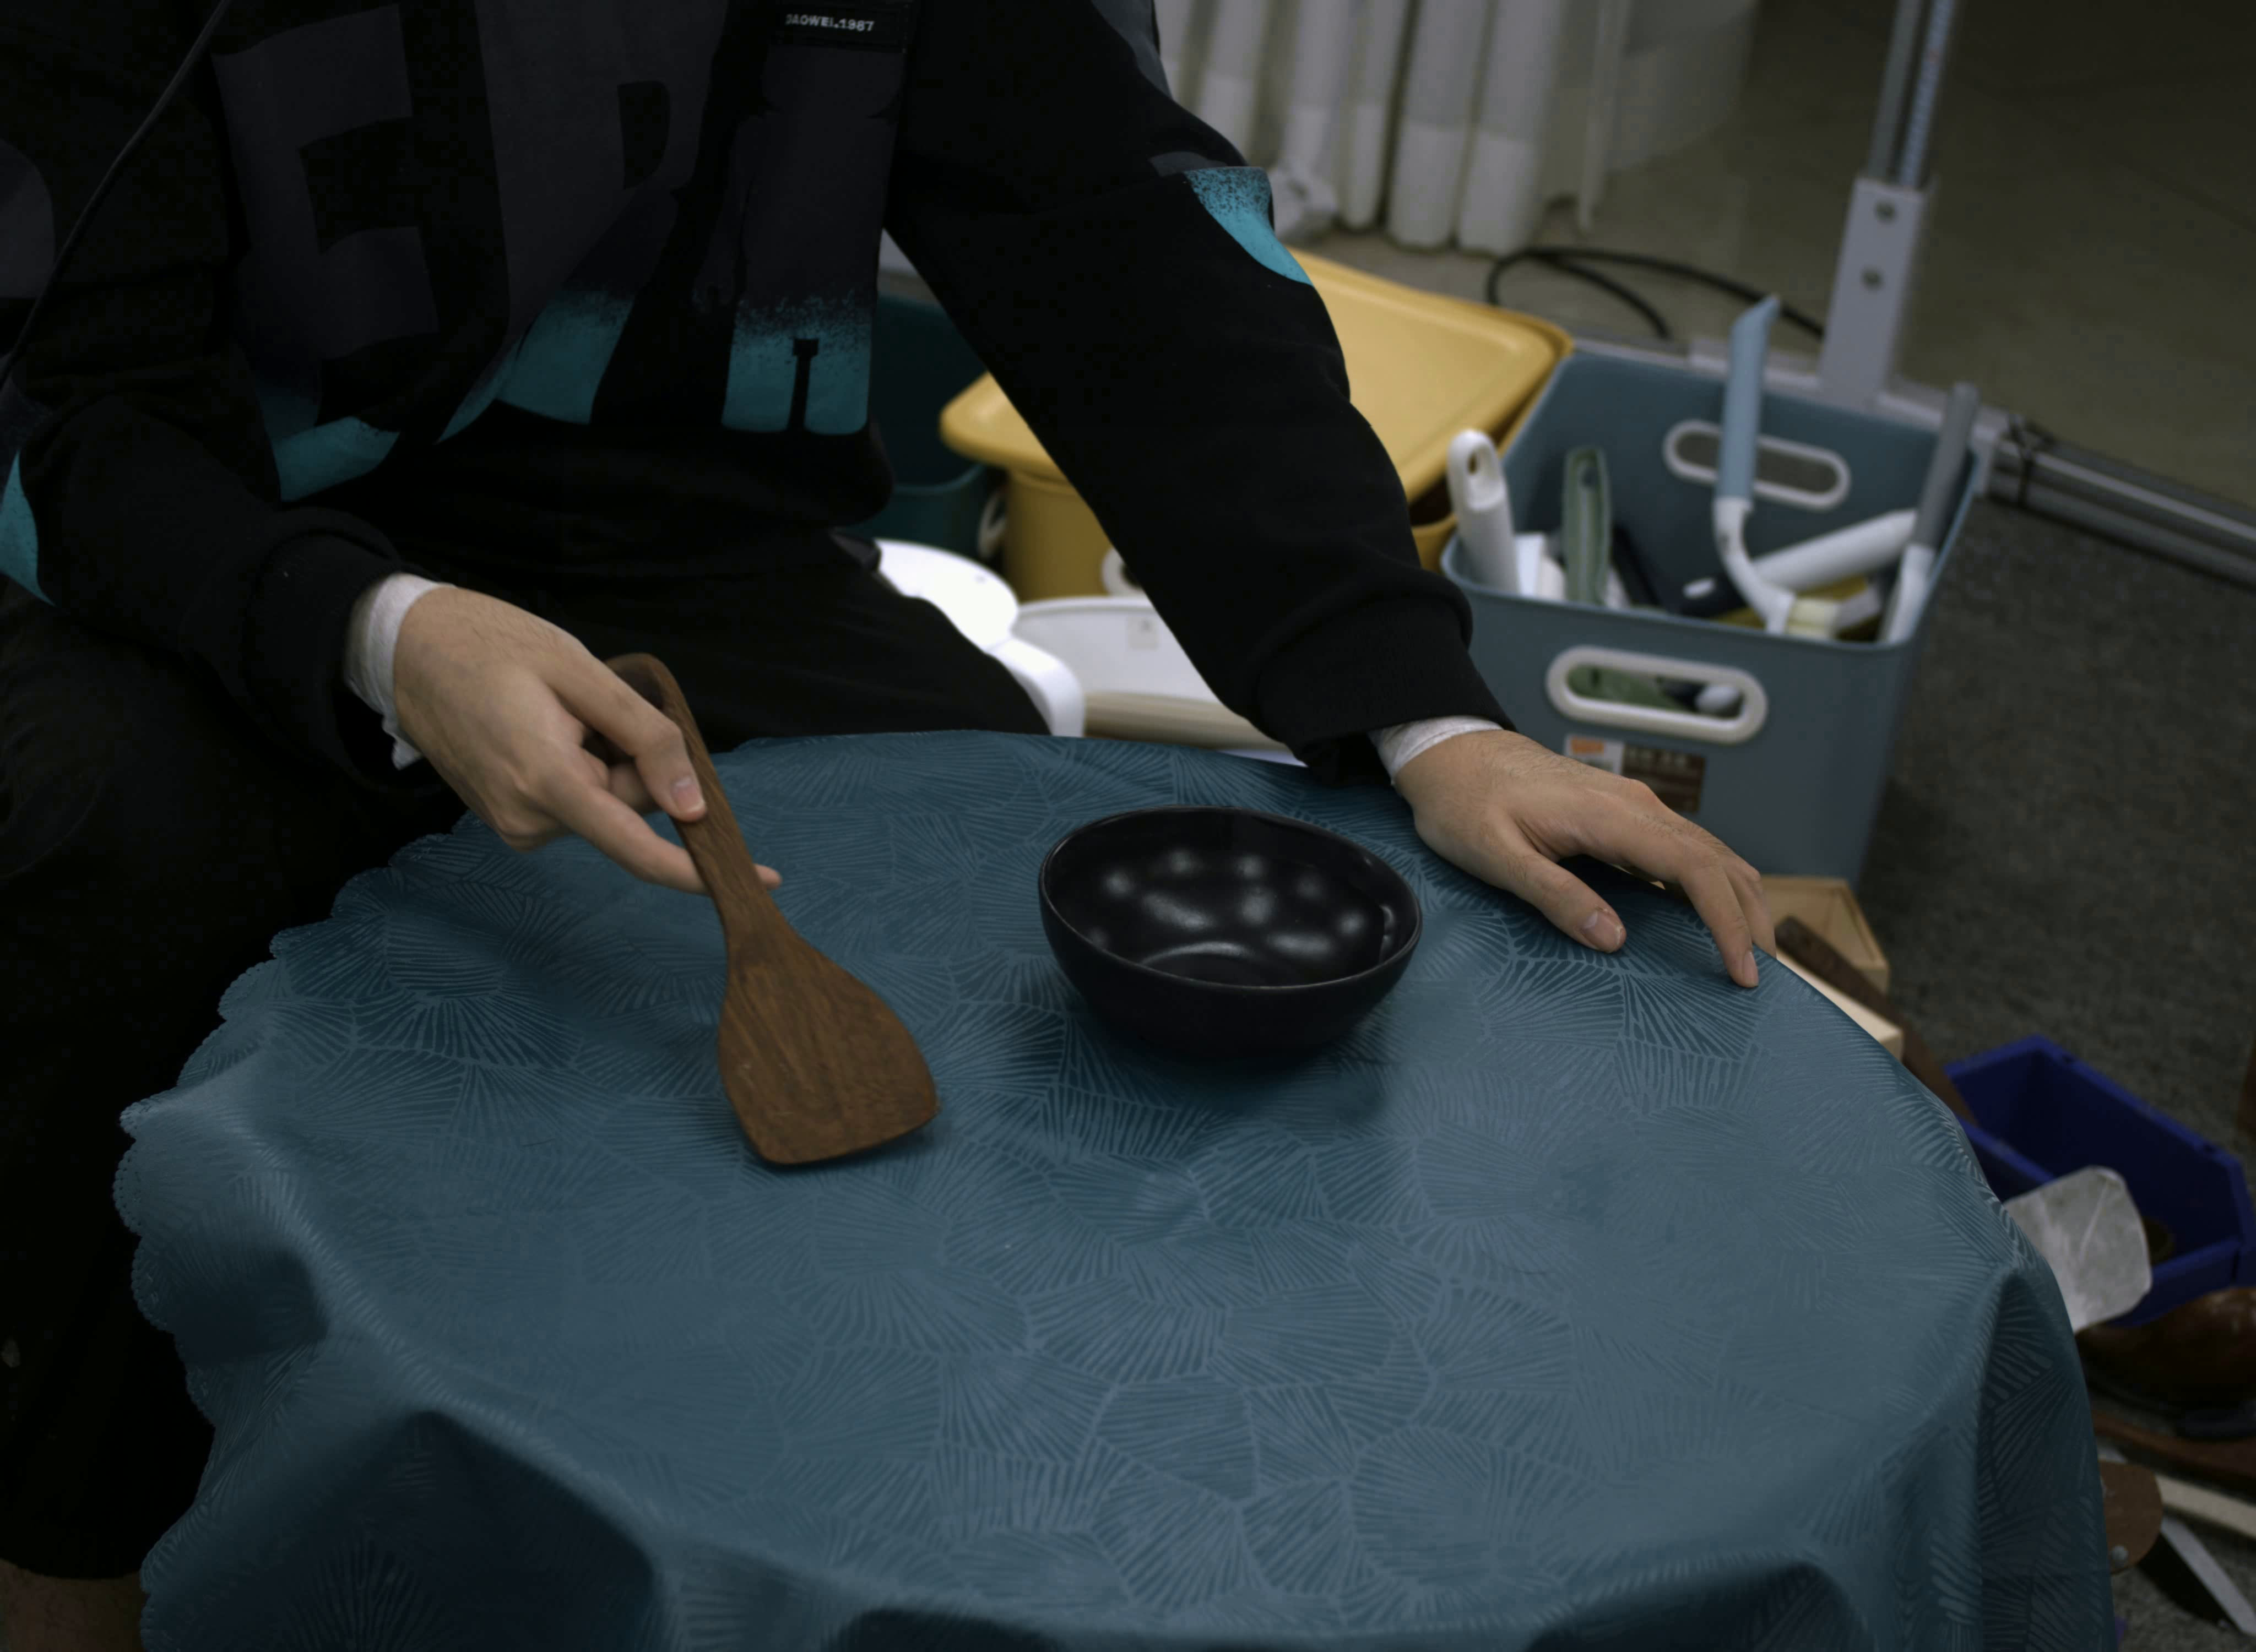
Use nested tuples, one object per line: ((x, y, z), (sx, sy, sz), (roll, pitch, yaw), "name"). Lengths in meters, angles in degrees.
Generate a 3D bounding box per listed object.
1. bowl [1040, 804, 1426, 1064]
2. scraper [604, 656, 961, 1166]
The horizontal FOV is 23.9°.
((0.036, 0.046, 1.908), (0.139, 0.049, 0.141), (3, 28, -2), "bowl")
((-0.131, 0.027, 1.842), (0.075, 0.011, 0.213), (-15, 62, -26), "scraper")
